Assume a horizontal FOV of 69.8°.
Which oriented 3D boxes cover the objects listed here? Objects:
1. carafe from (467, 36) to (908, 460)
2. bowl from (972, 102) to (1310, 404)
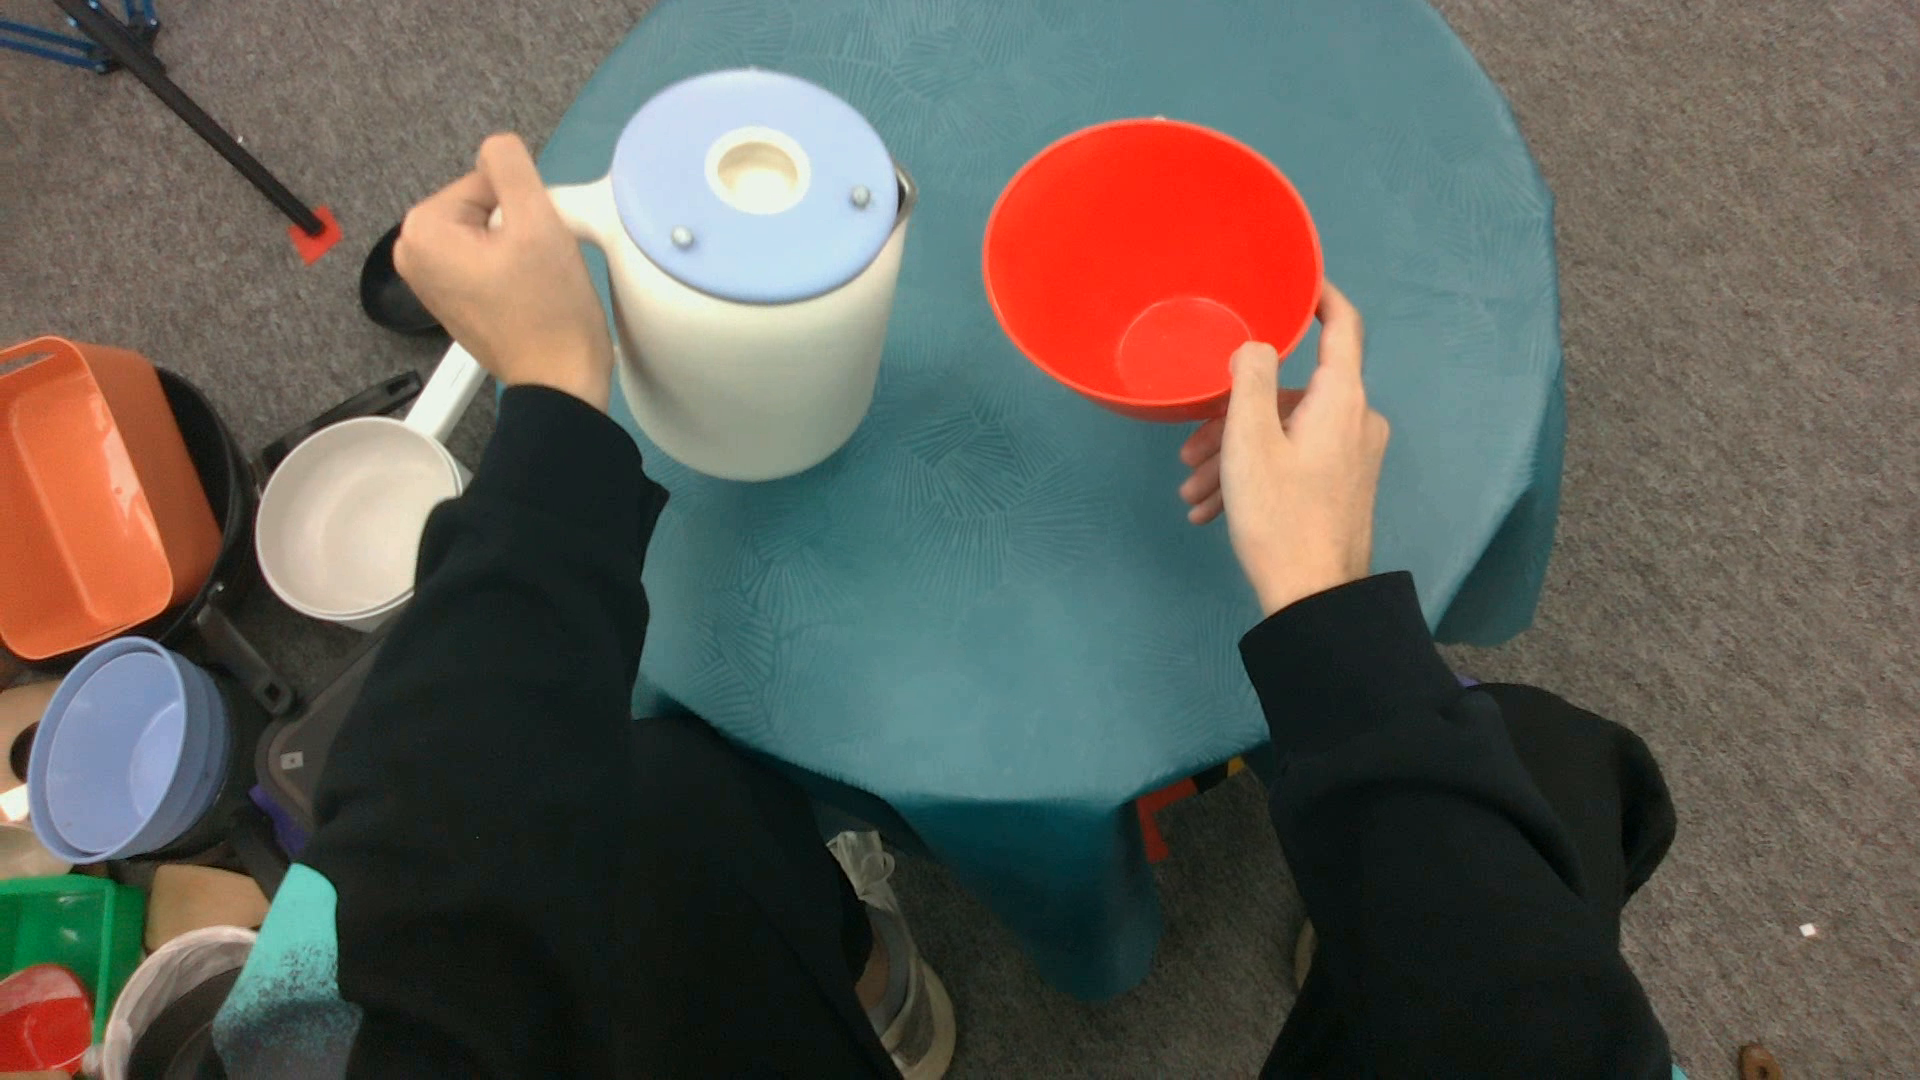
[{"bbox_3d":[-0.127,-0.127,0.637,0.191,0.182,0.132,-4,68,-11],"label":"carafe"},{"bbox_3d":[0.088,-0.120,0.648,0.148,0.104,0.148,-4,66,11],"label":"bowl"}]
